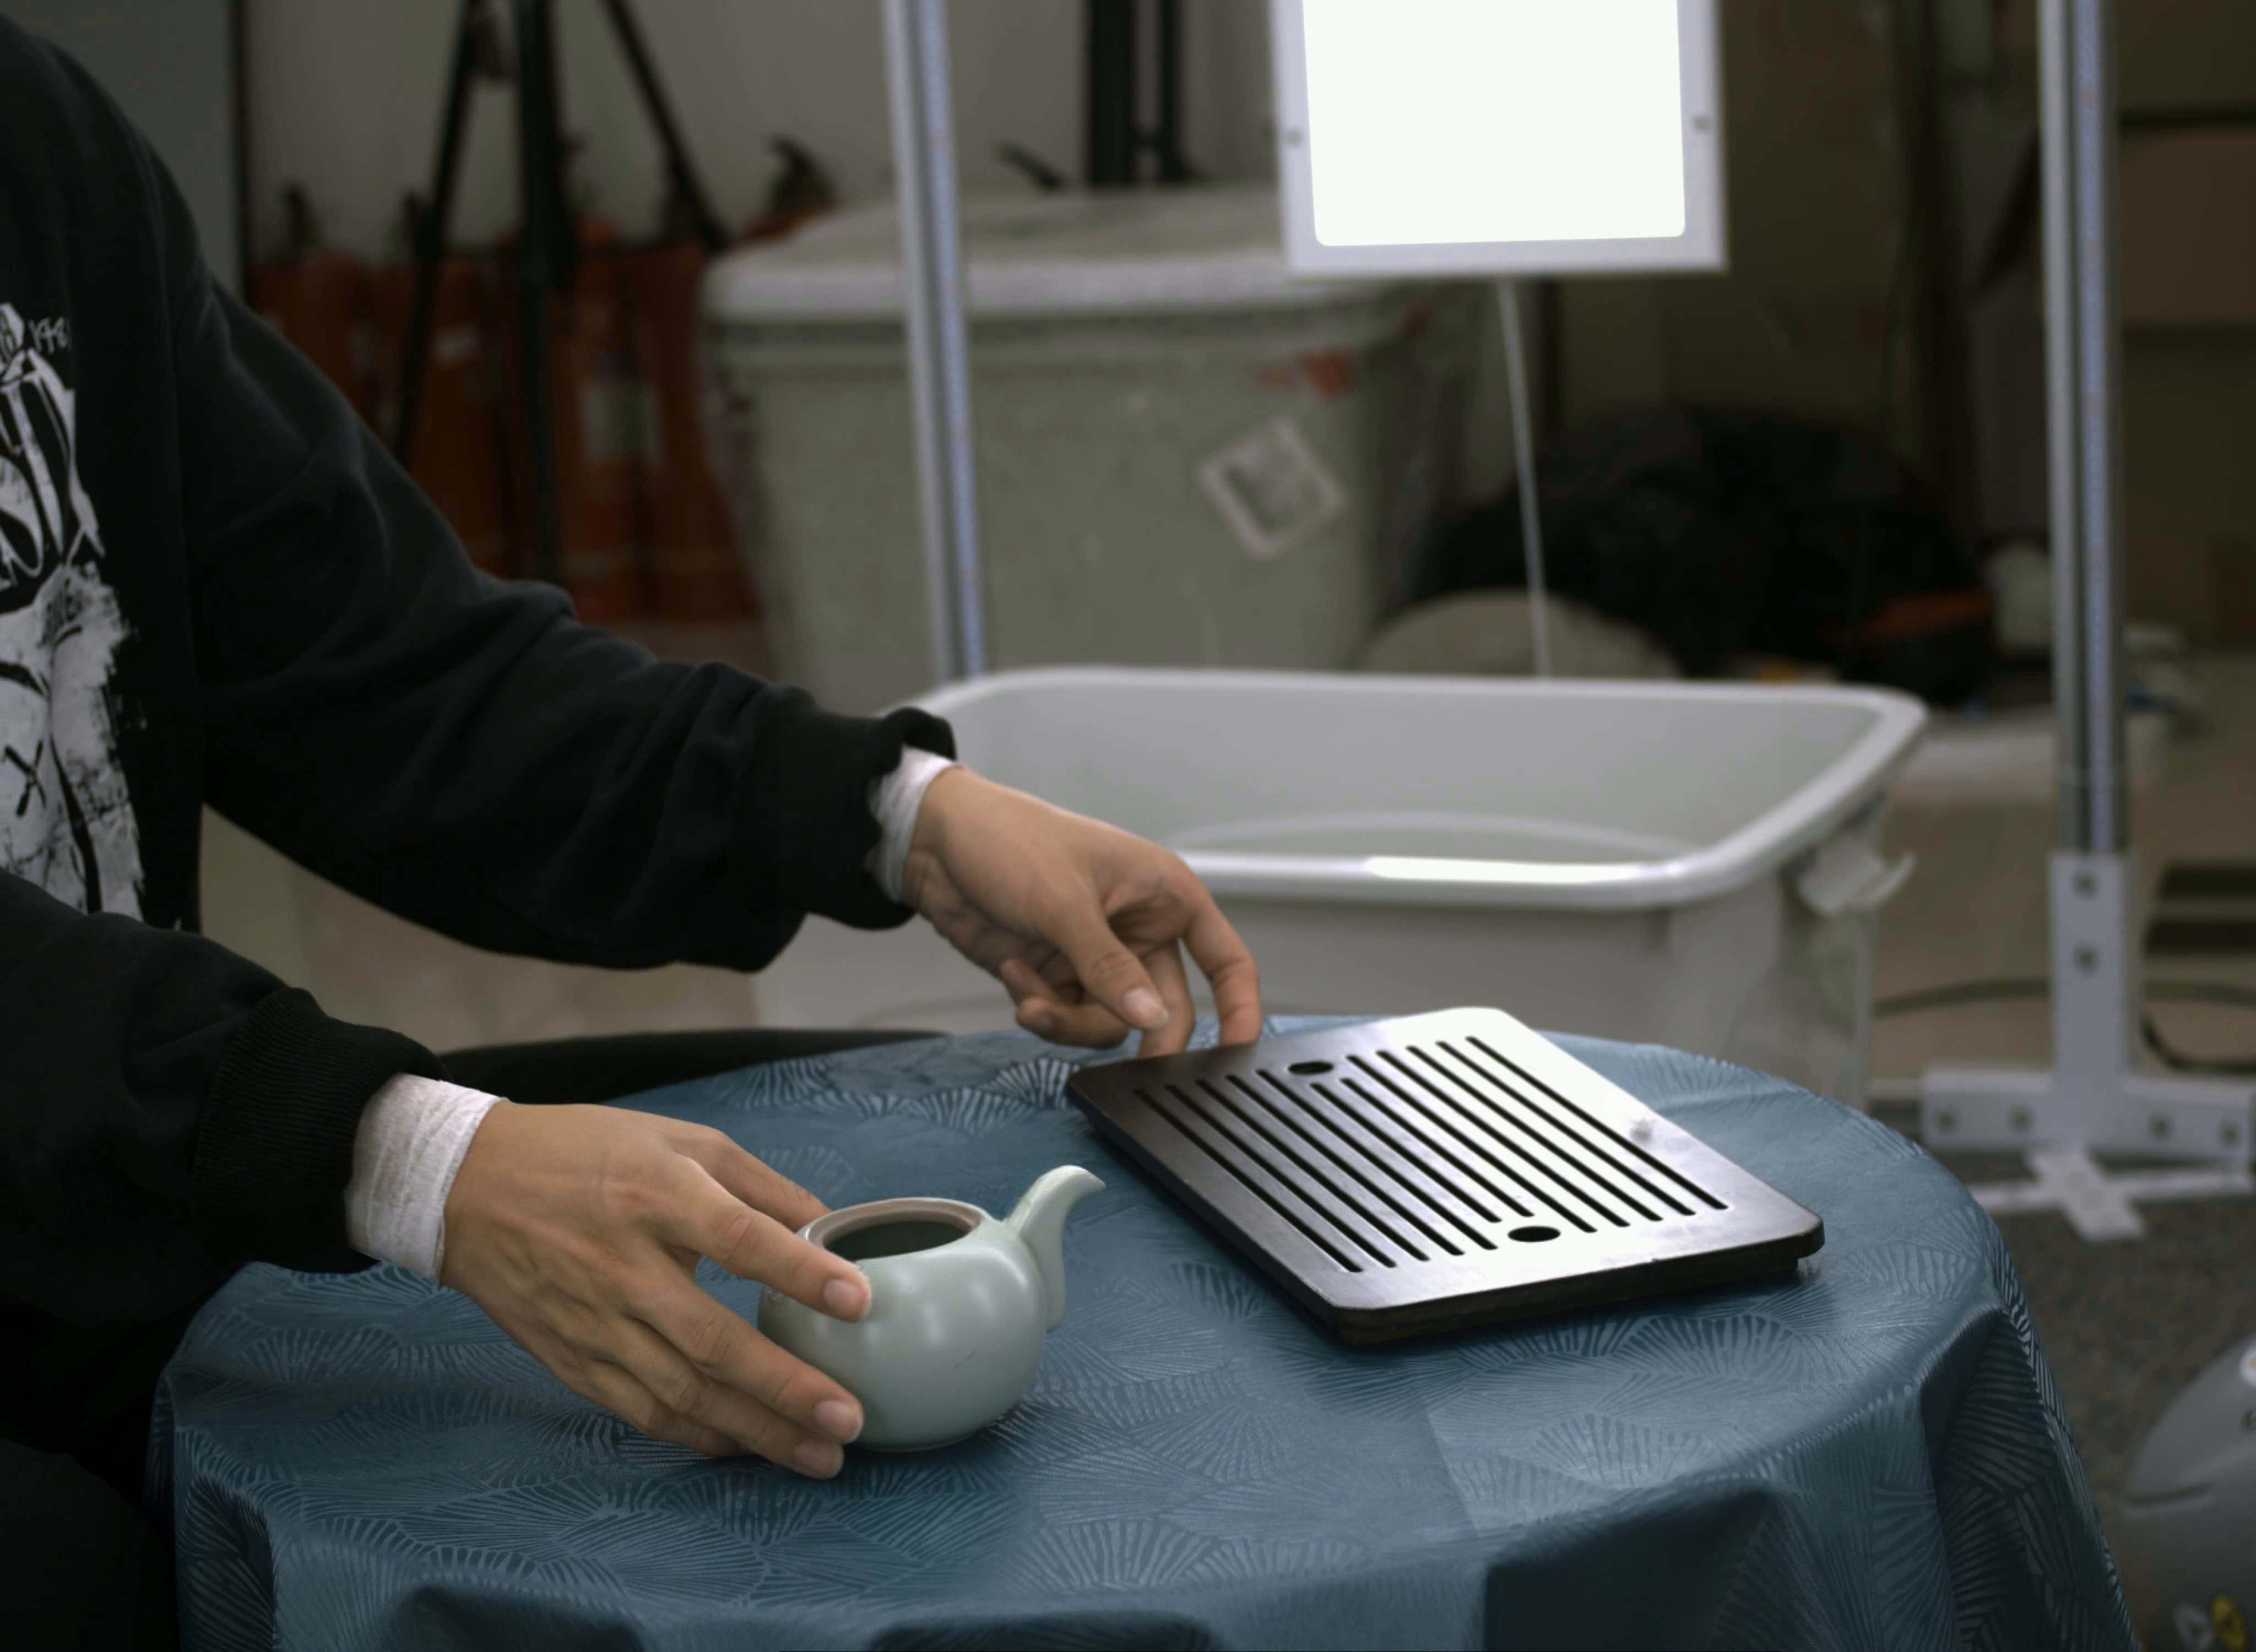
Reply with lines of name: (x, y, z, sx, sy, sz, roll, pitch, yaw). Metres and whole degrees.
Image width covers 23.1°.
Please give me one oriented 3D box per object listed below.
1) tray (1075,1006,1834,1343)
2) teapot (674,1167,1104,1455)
tray: (0.104, 0.115, 1.869, 0.167, 0.019, 0.309, -9, 14, -15)
teapot: (-0.070, 0.150, 1.678, 0.141, 0.075, 0.089, -9, 14, -22)
